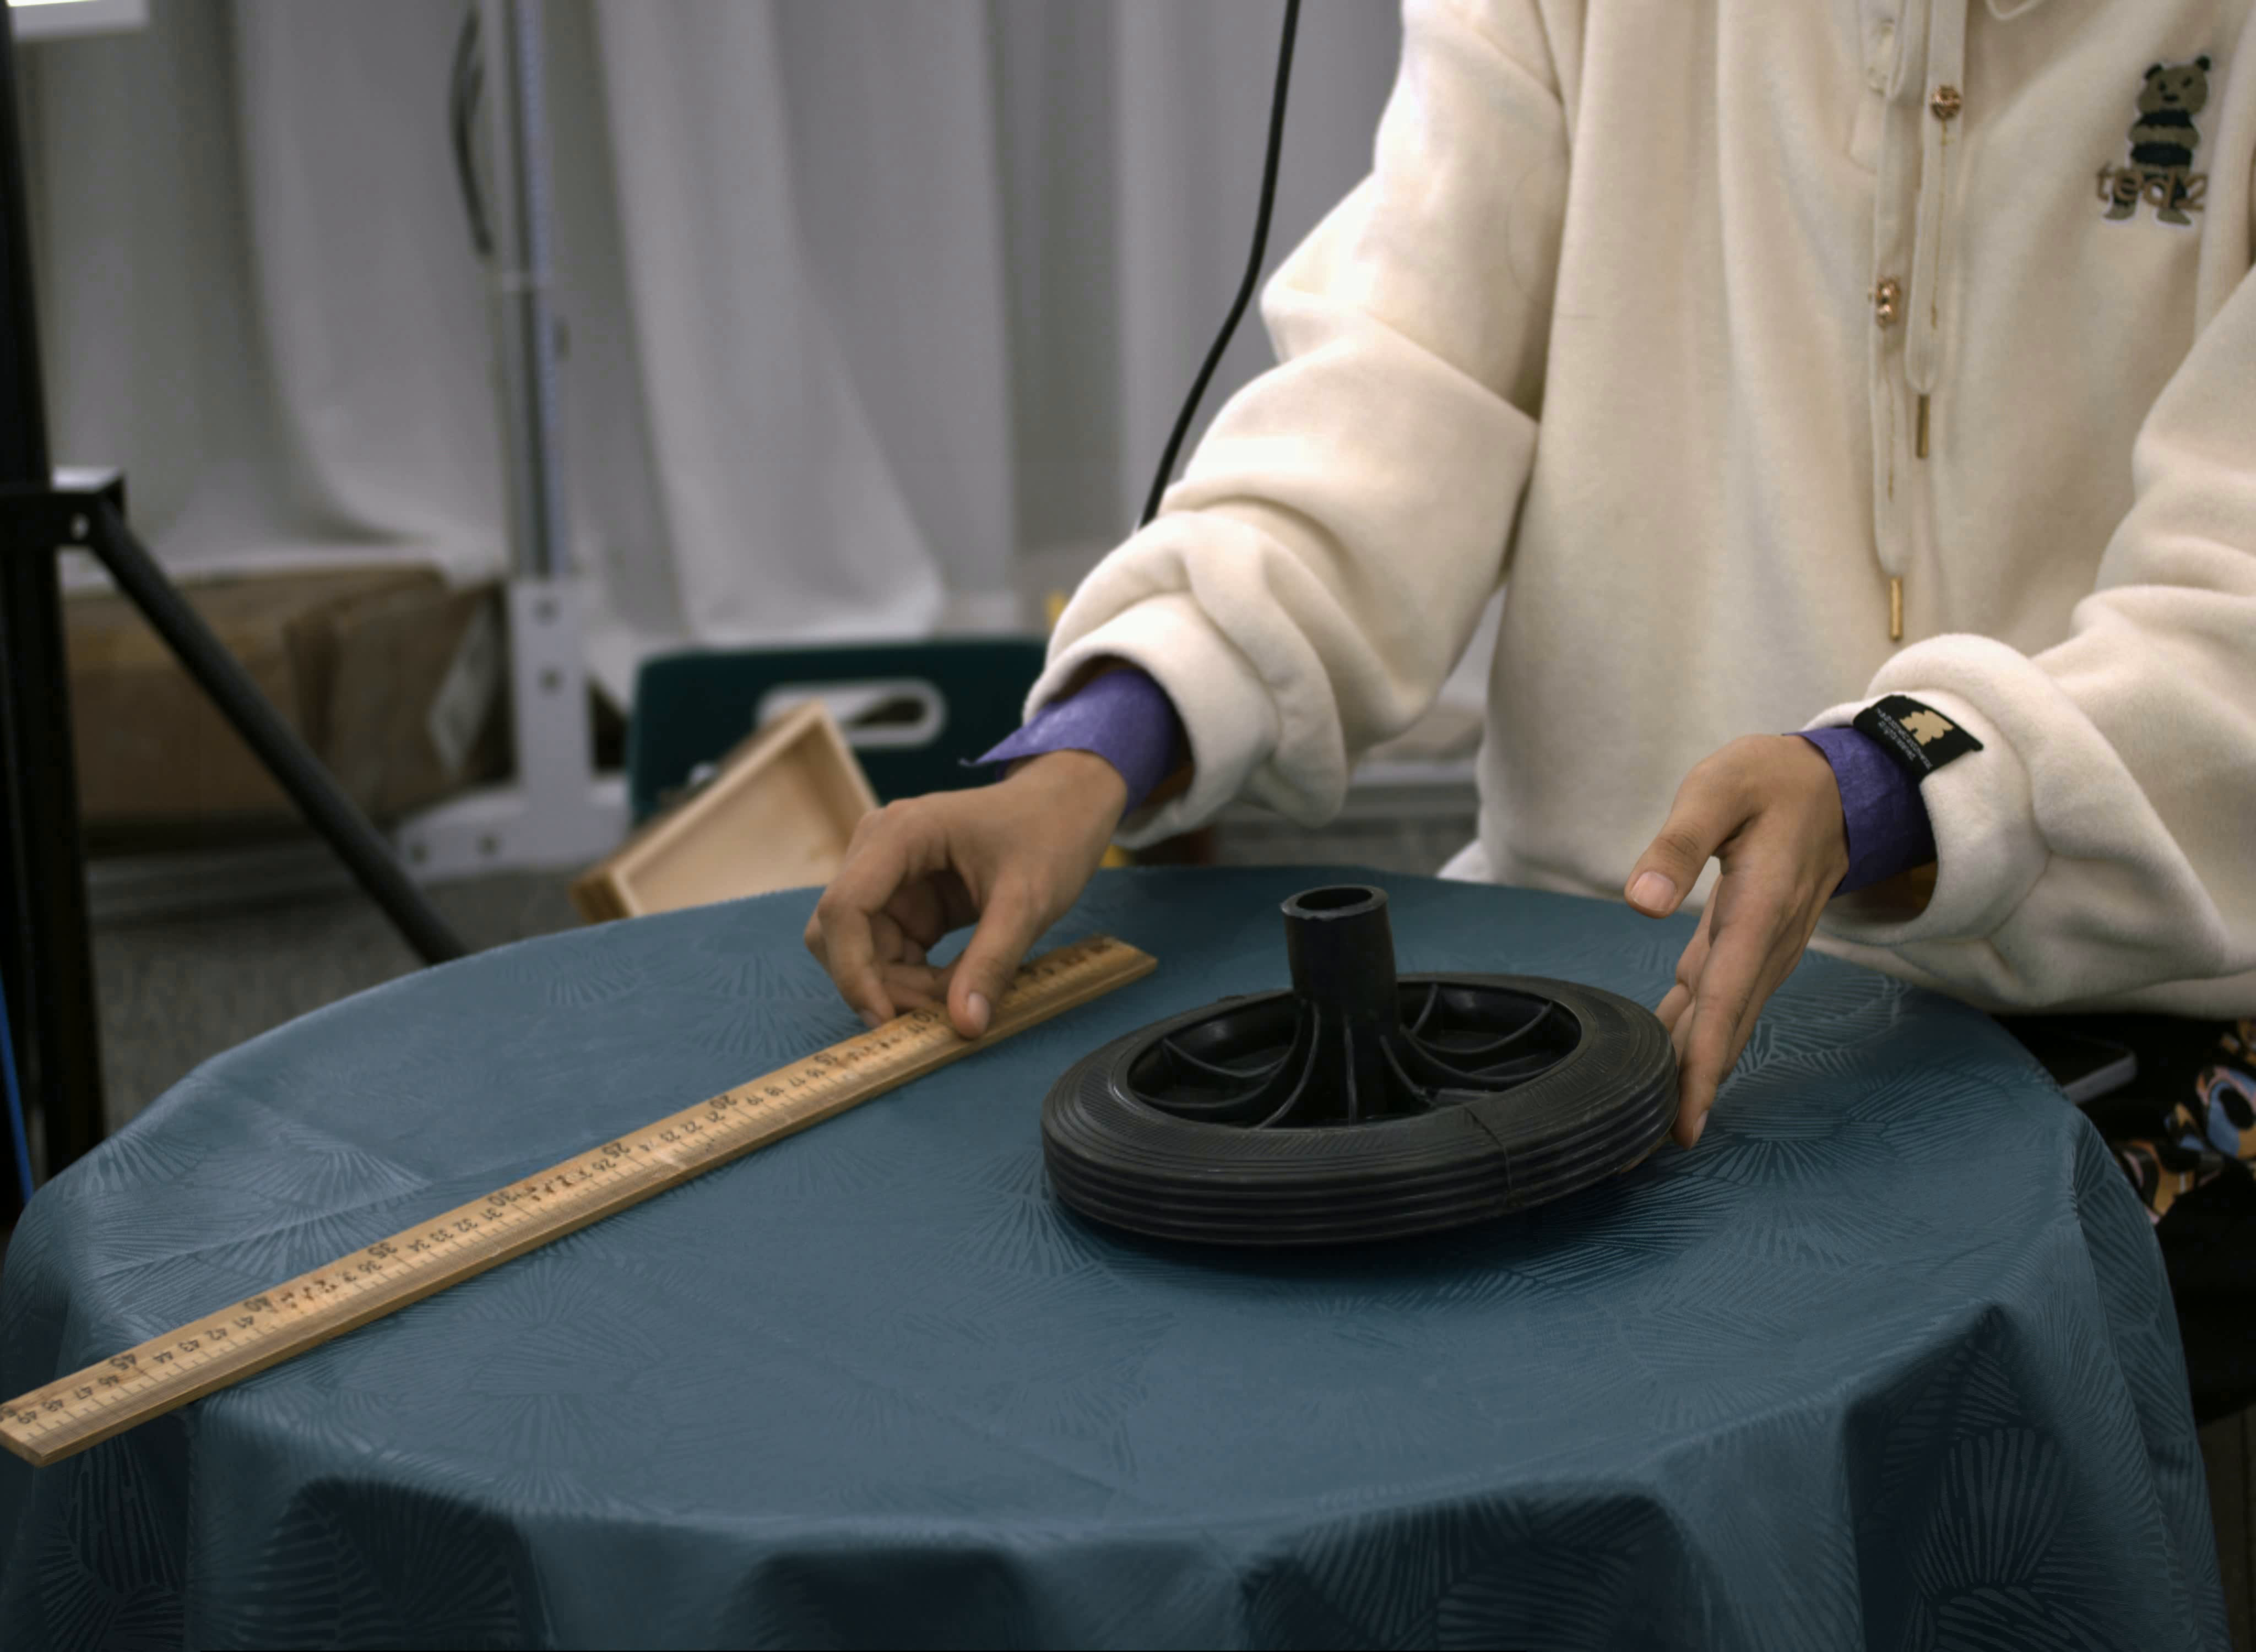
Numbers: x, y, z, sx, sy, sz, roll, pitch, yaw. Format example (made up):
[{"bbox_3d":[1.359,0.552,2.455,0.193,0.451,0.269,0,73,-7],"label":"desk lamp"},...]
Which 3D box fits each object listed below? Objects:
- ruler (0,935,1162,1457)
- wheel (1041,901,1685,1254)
[{"bbox_3d":[-0.145,0.100,1.585,0.027,0.006,0.490,29,30,28],"label":"ruler"},{"bbox_3d":[0.066,0.064,1.553,0.191,0.079,0.186,-3,16,14],"label":"wheel"}]
